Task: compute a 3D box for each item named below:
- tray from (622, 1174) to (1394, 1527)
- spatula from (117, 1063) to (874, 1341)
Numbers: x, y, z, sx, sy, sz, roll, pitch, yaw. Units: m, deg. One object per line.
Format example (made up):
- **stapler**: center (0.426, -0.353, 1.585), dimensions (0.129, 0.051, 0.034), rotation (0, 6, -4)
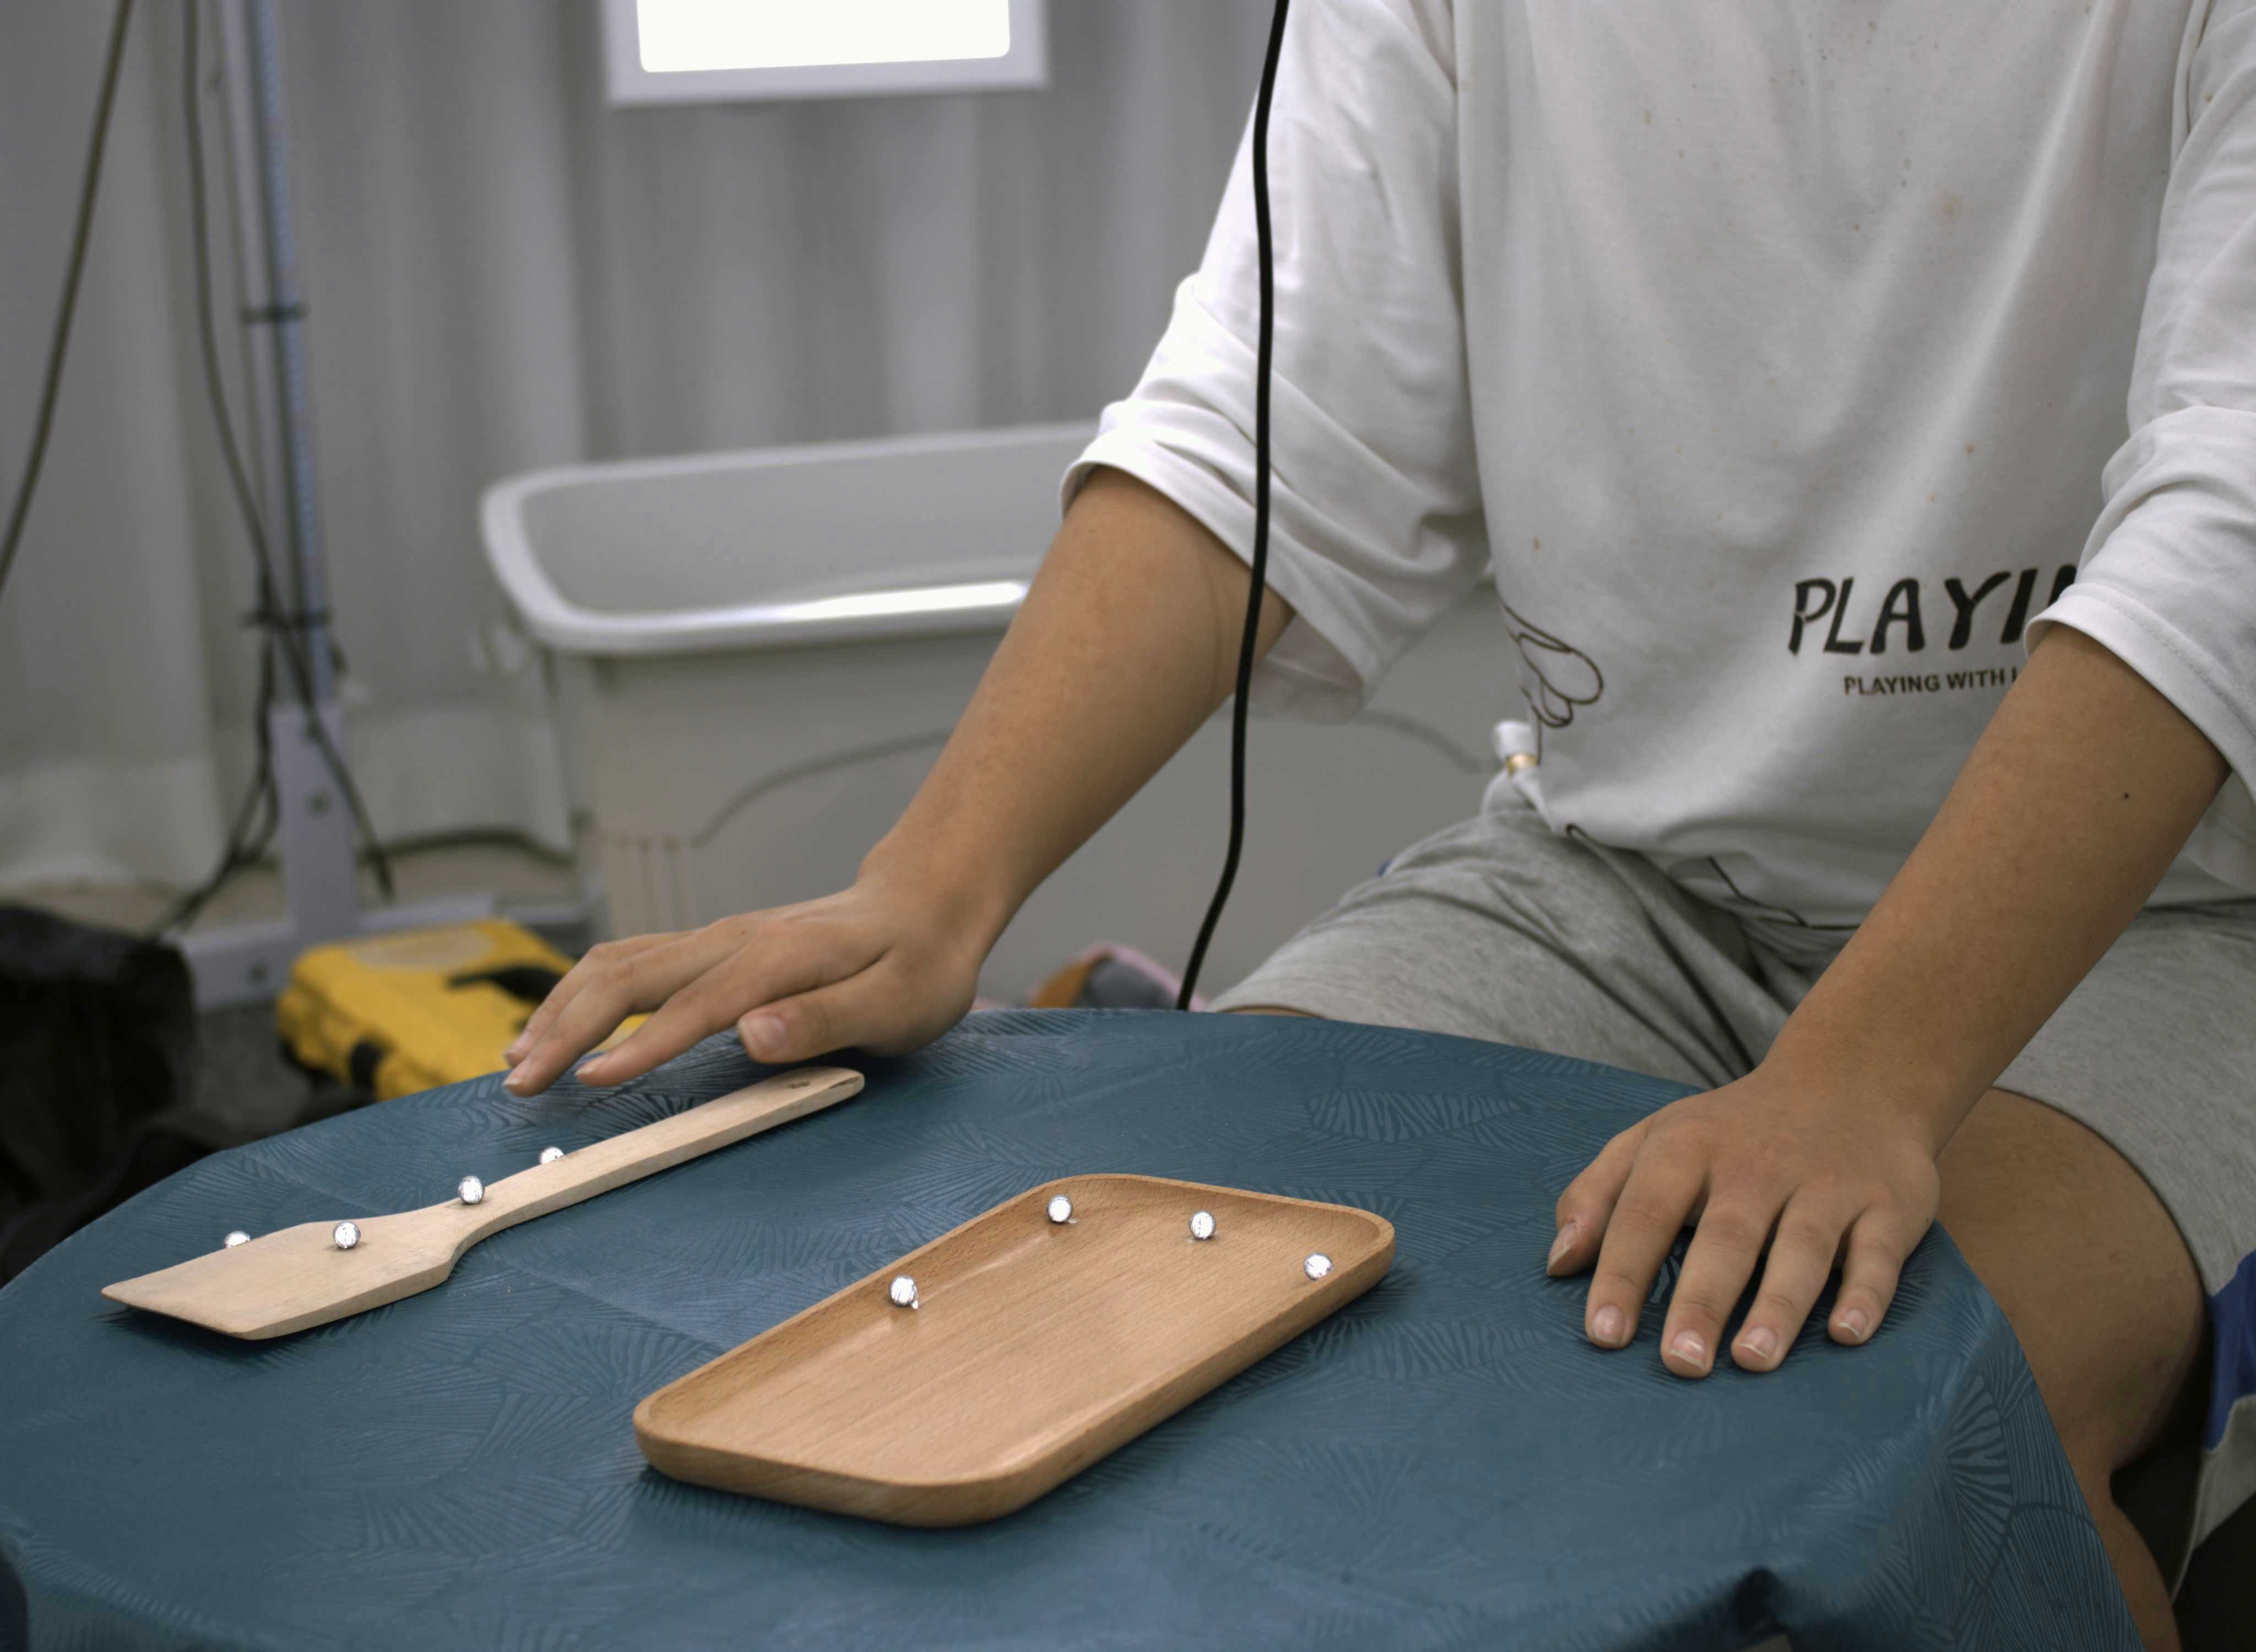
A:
- **tray**: center (-0.030, 0.148, 1.567), dimensions (0.131, 0.023, 0.251), rotation (4, 16, 33)
- **spatula**: center (-0.187, 0.115, 1.729), dimensions (0.072, 0.010, 0.292), rotation (9, 19, 40)
